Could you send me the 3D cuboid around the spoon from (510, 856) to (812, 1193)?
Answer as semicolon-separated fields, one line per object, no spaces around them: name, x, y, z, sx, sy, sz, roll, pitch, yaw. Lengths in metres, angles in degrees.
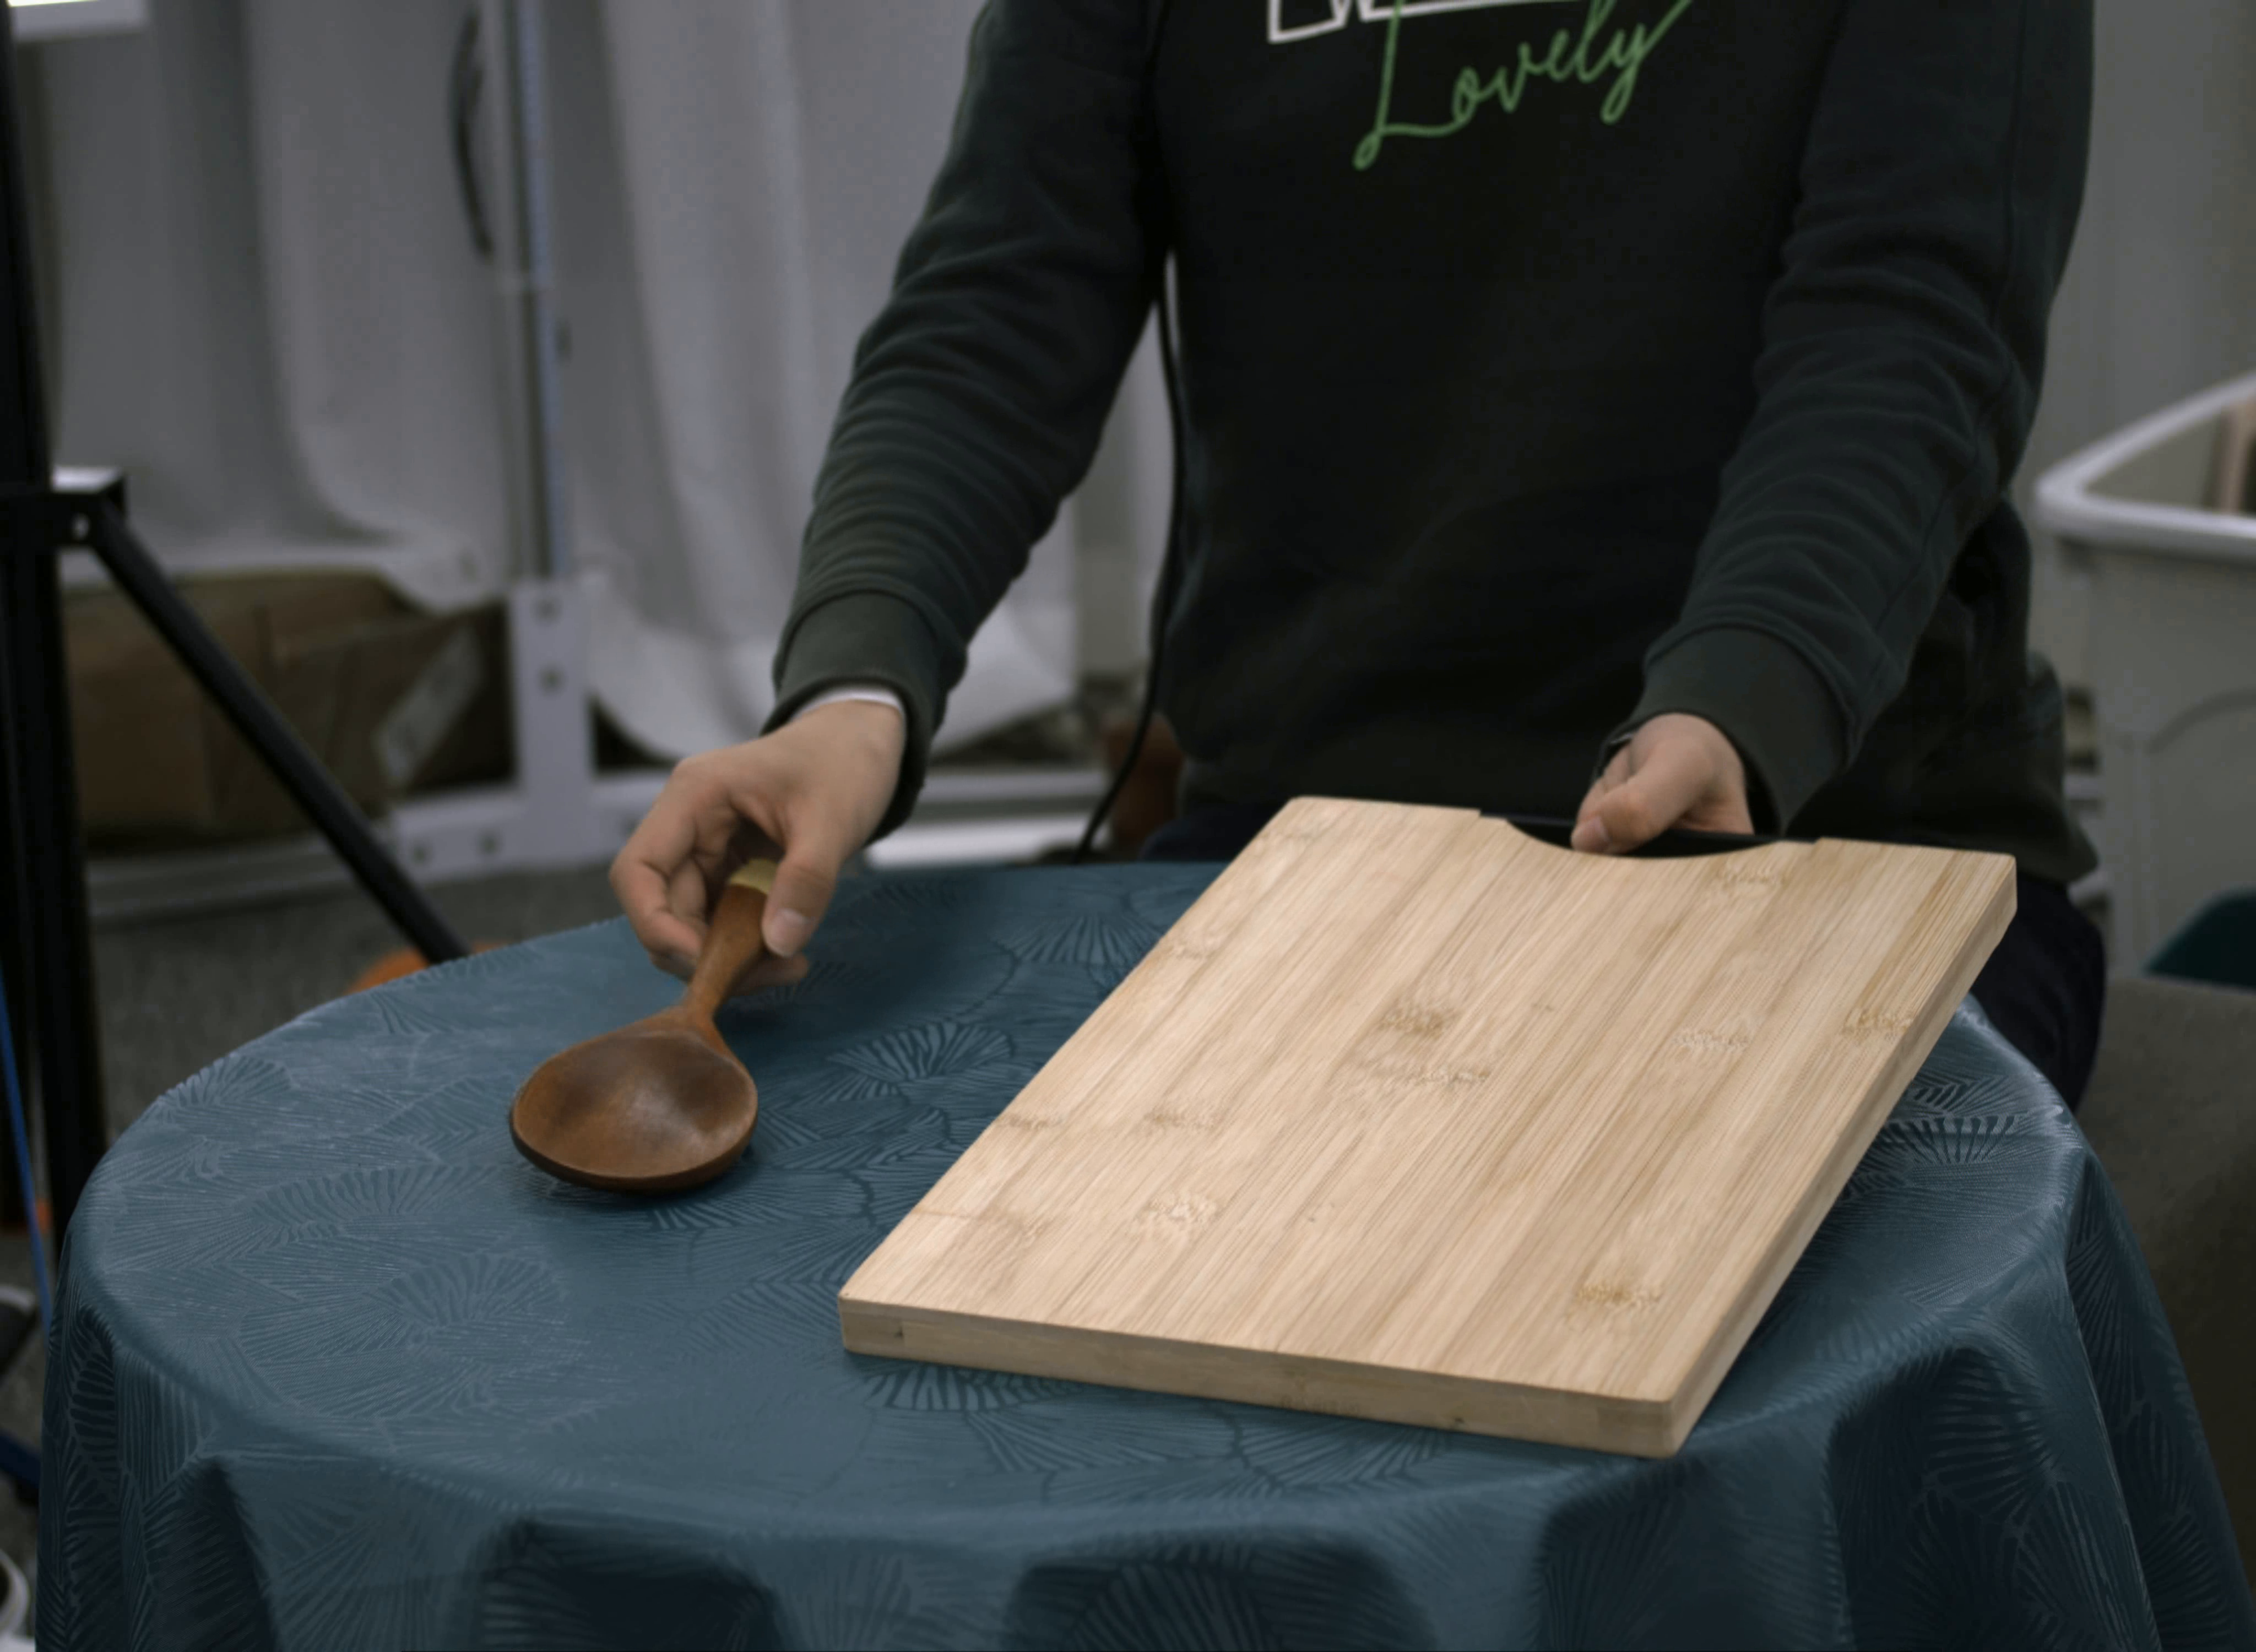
spoon;-0.134;0.063;1.659;0.076;0.017;0.215;6;27;10

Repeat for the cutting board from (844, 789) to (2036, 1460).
cutting board;0.100;0.076;1.533;0.254;0.023;0.345;5;26;23
